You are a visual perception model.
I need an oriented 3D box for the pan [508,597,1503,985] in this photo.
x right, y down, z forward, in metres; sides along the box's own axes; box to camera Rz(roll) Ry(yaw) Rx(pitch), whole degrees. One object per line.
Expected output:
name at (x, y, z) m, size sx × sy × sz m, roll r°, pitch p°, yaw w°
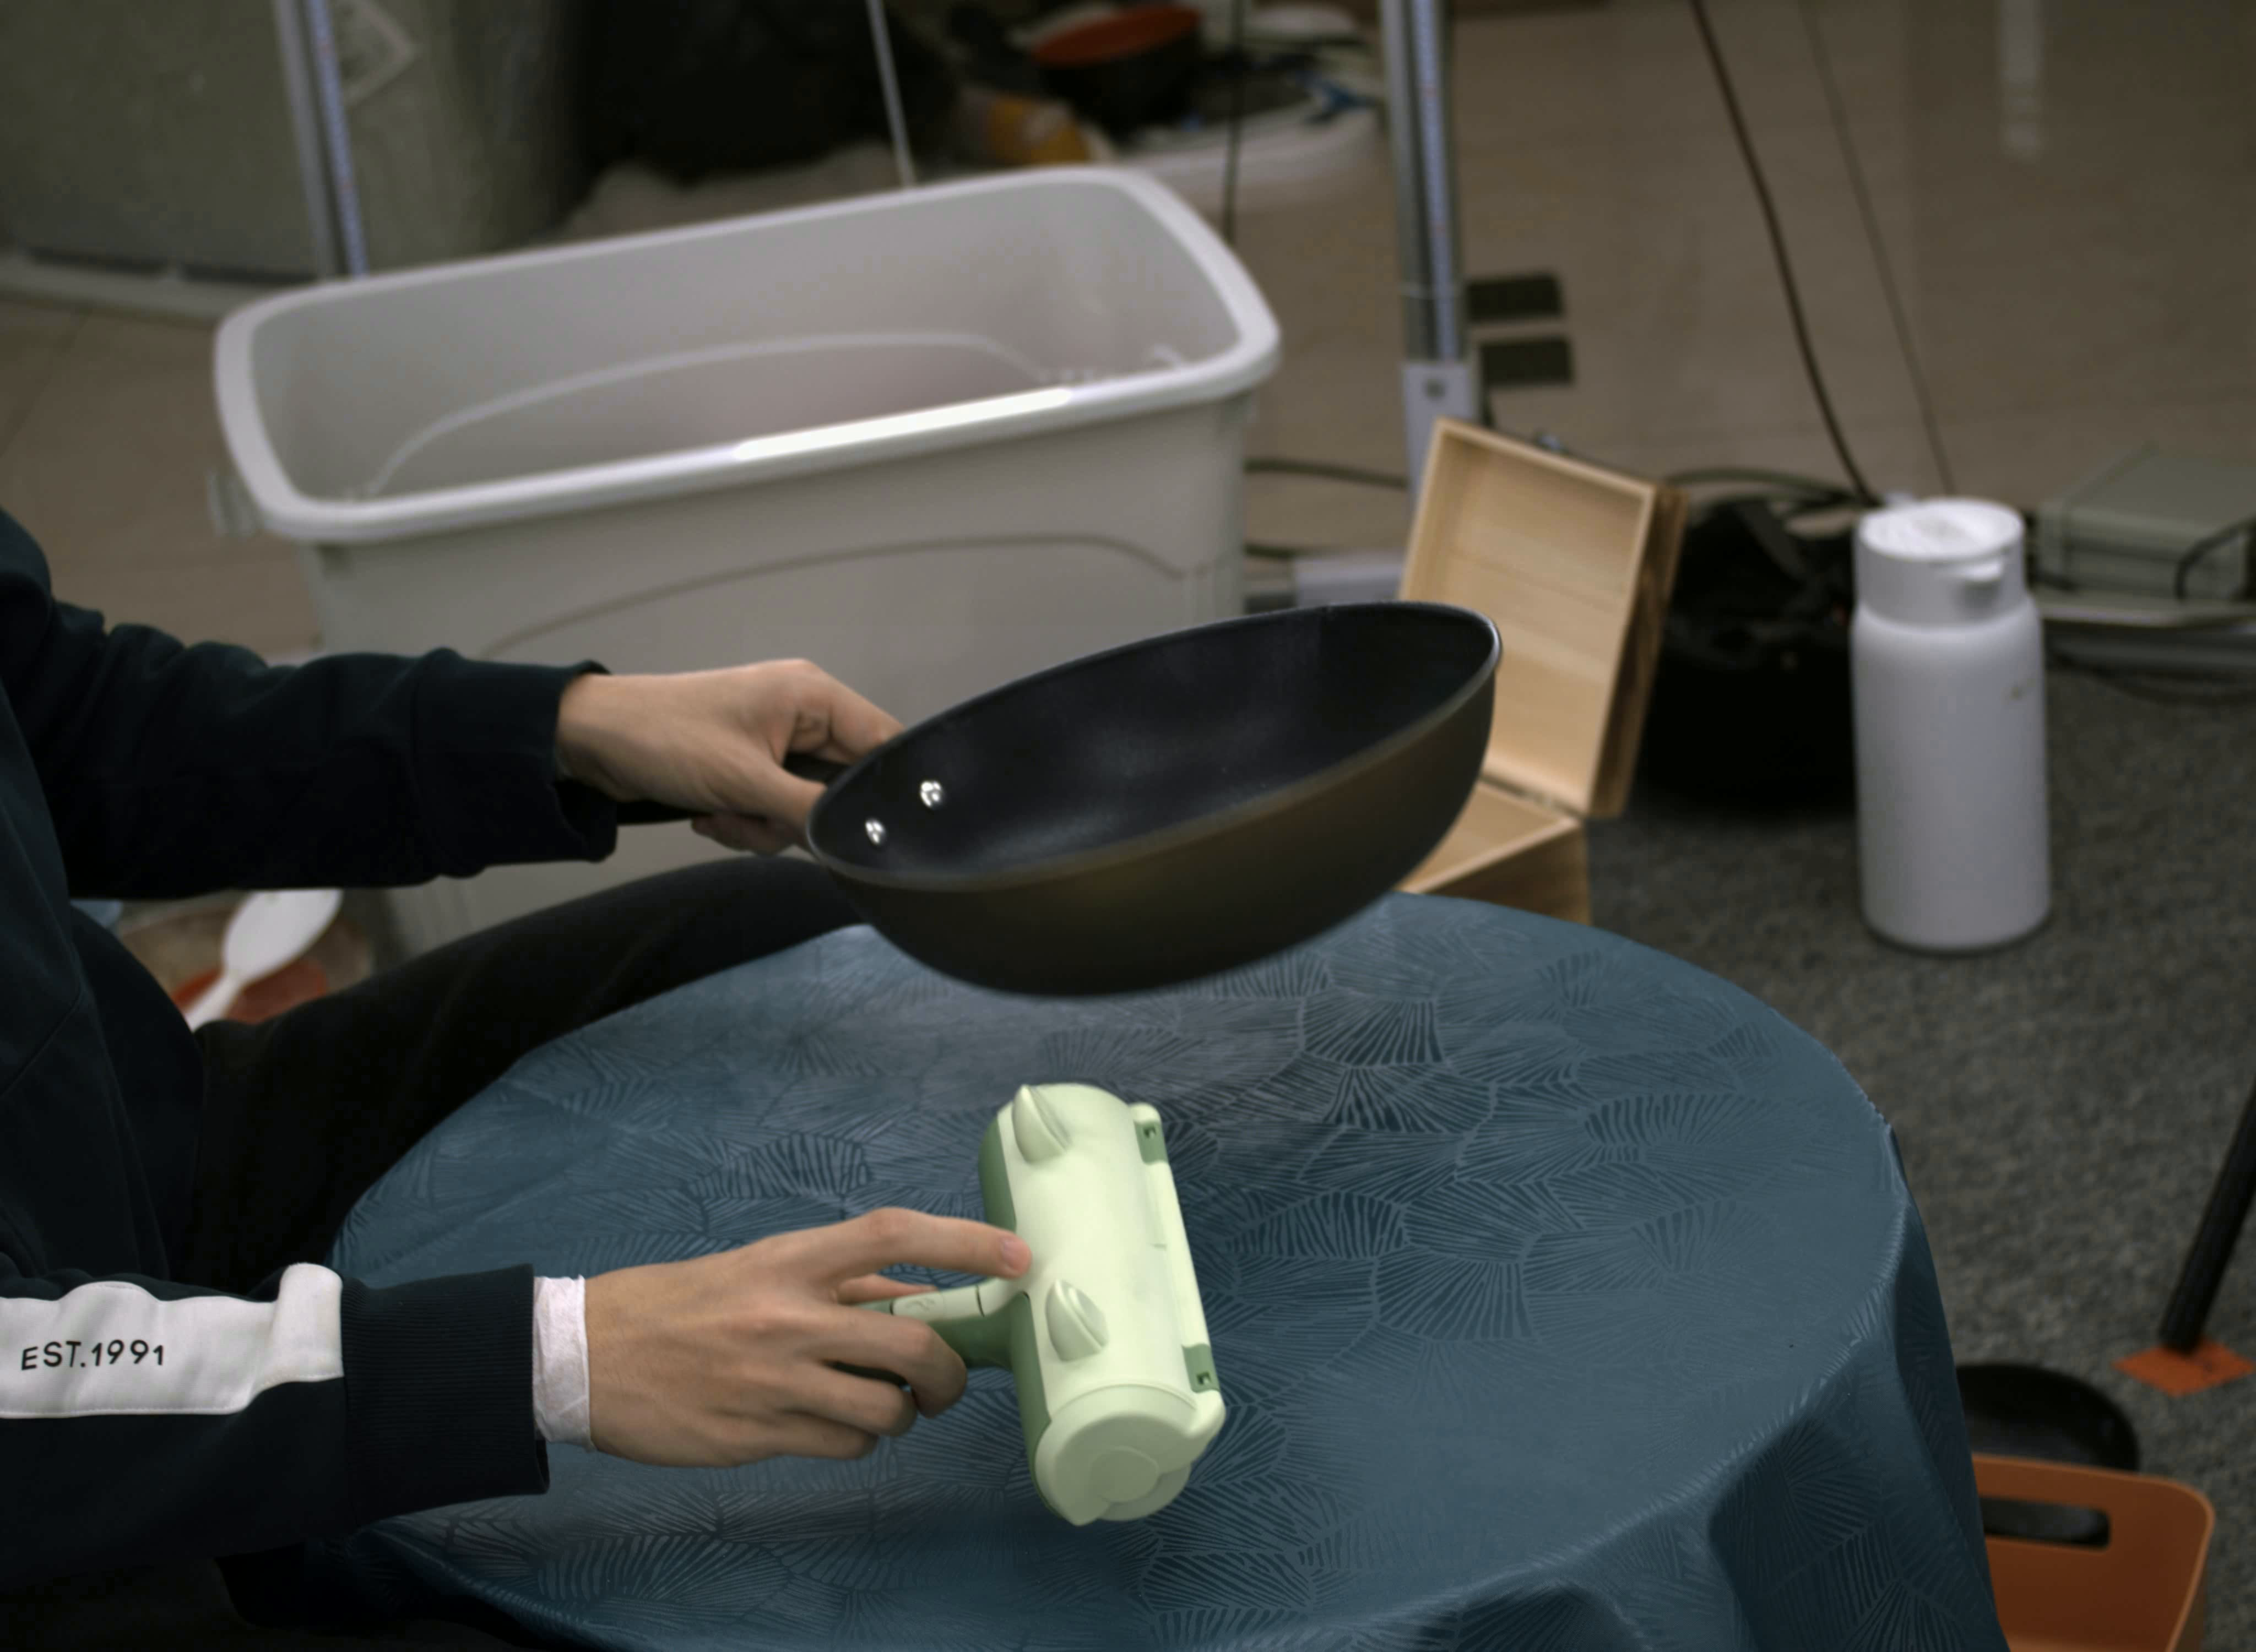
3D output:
pan at (-0.057, 0.003, 2.222) m, size 0.463 × 0.088 × 0.285 m, roll -7°, pitch 17°, yaw 34°

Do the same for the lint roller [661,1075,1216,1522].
lint roller at (-0.071, 0.159, 1.930) m, size 0.183 × 0.084 × 0.195 m, roll -7°, pitch 33°, yaw -3°
